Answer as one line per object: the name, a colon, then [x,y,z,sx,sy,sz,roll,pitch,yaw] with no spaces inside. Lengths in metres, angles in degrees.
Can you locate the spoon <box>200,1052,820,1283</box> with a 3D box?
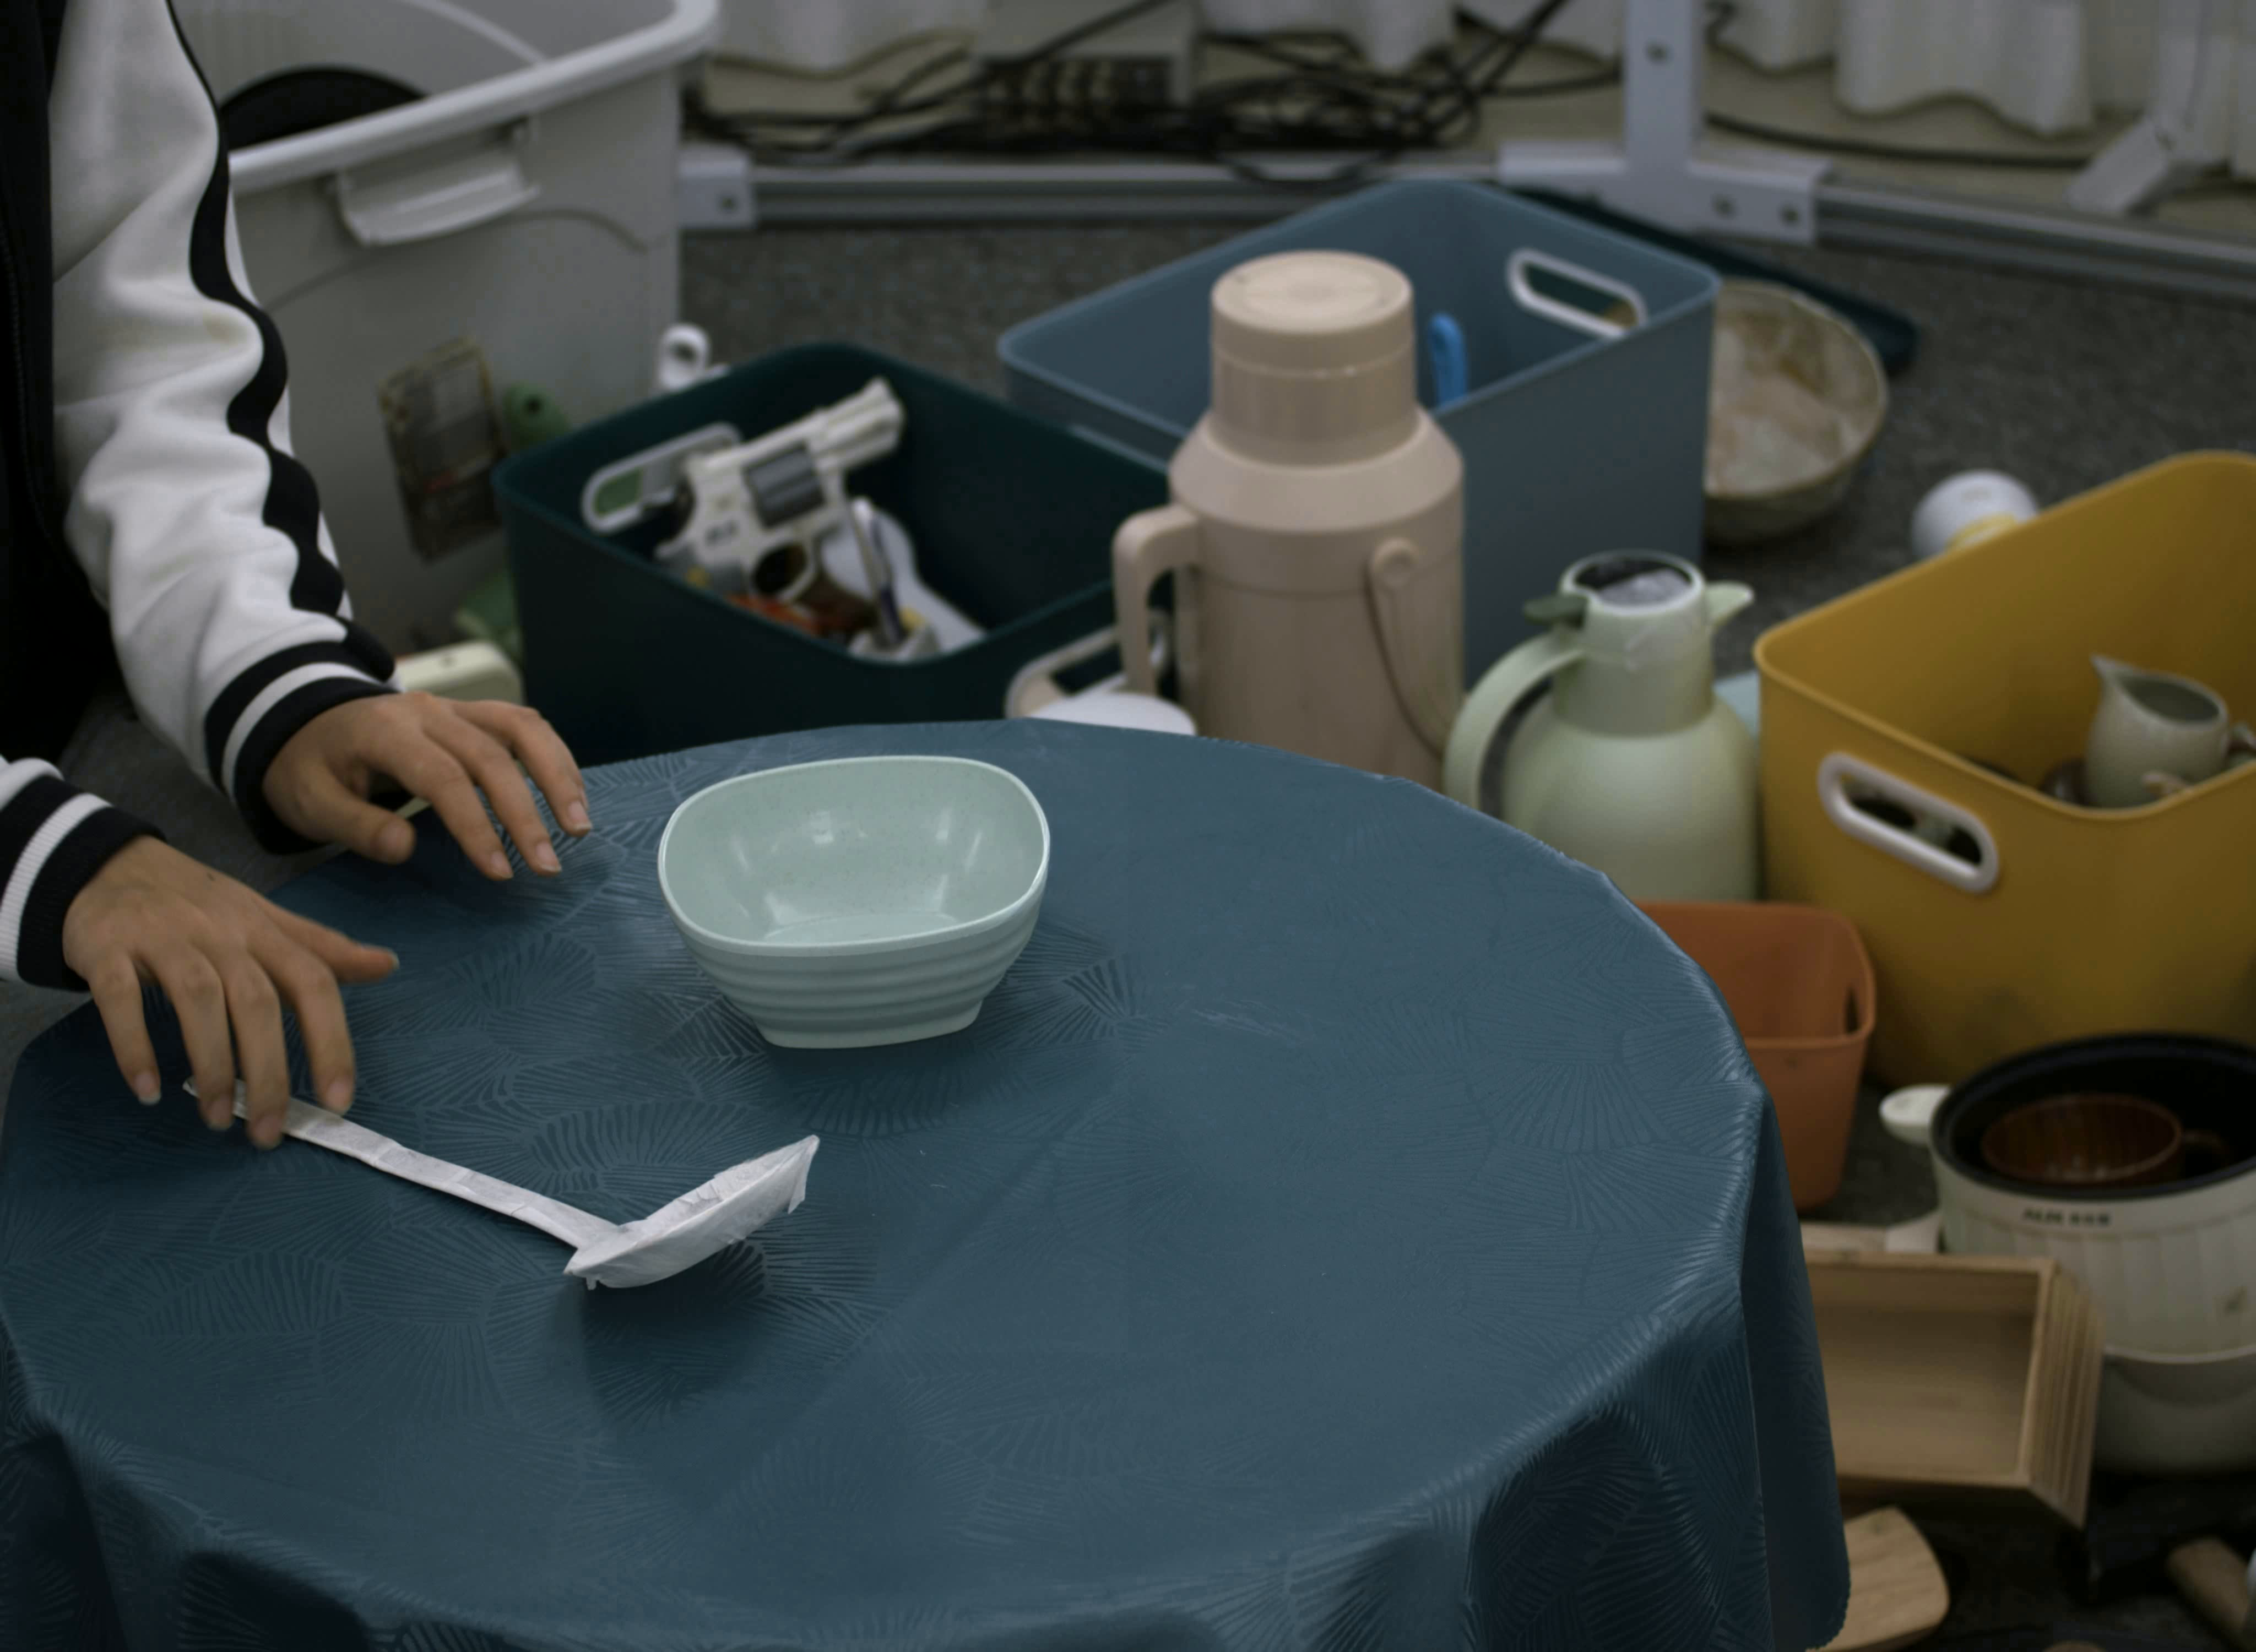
spoon: [-0.214,0.095,1.872,0.276,0.059,0.102,20,29,37]

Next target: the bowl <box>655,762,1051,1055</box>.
bowl: [-0.095,0.035,1.981,0.151,0.058,0.154,-2,27,1]
